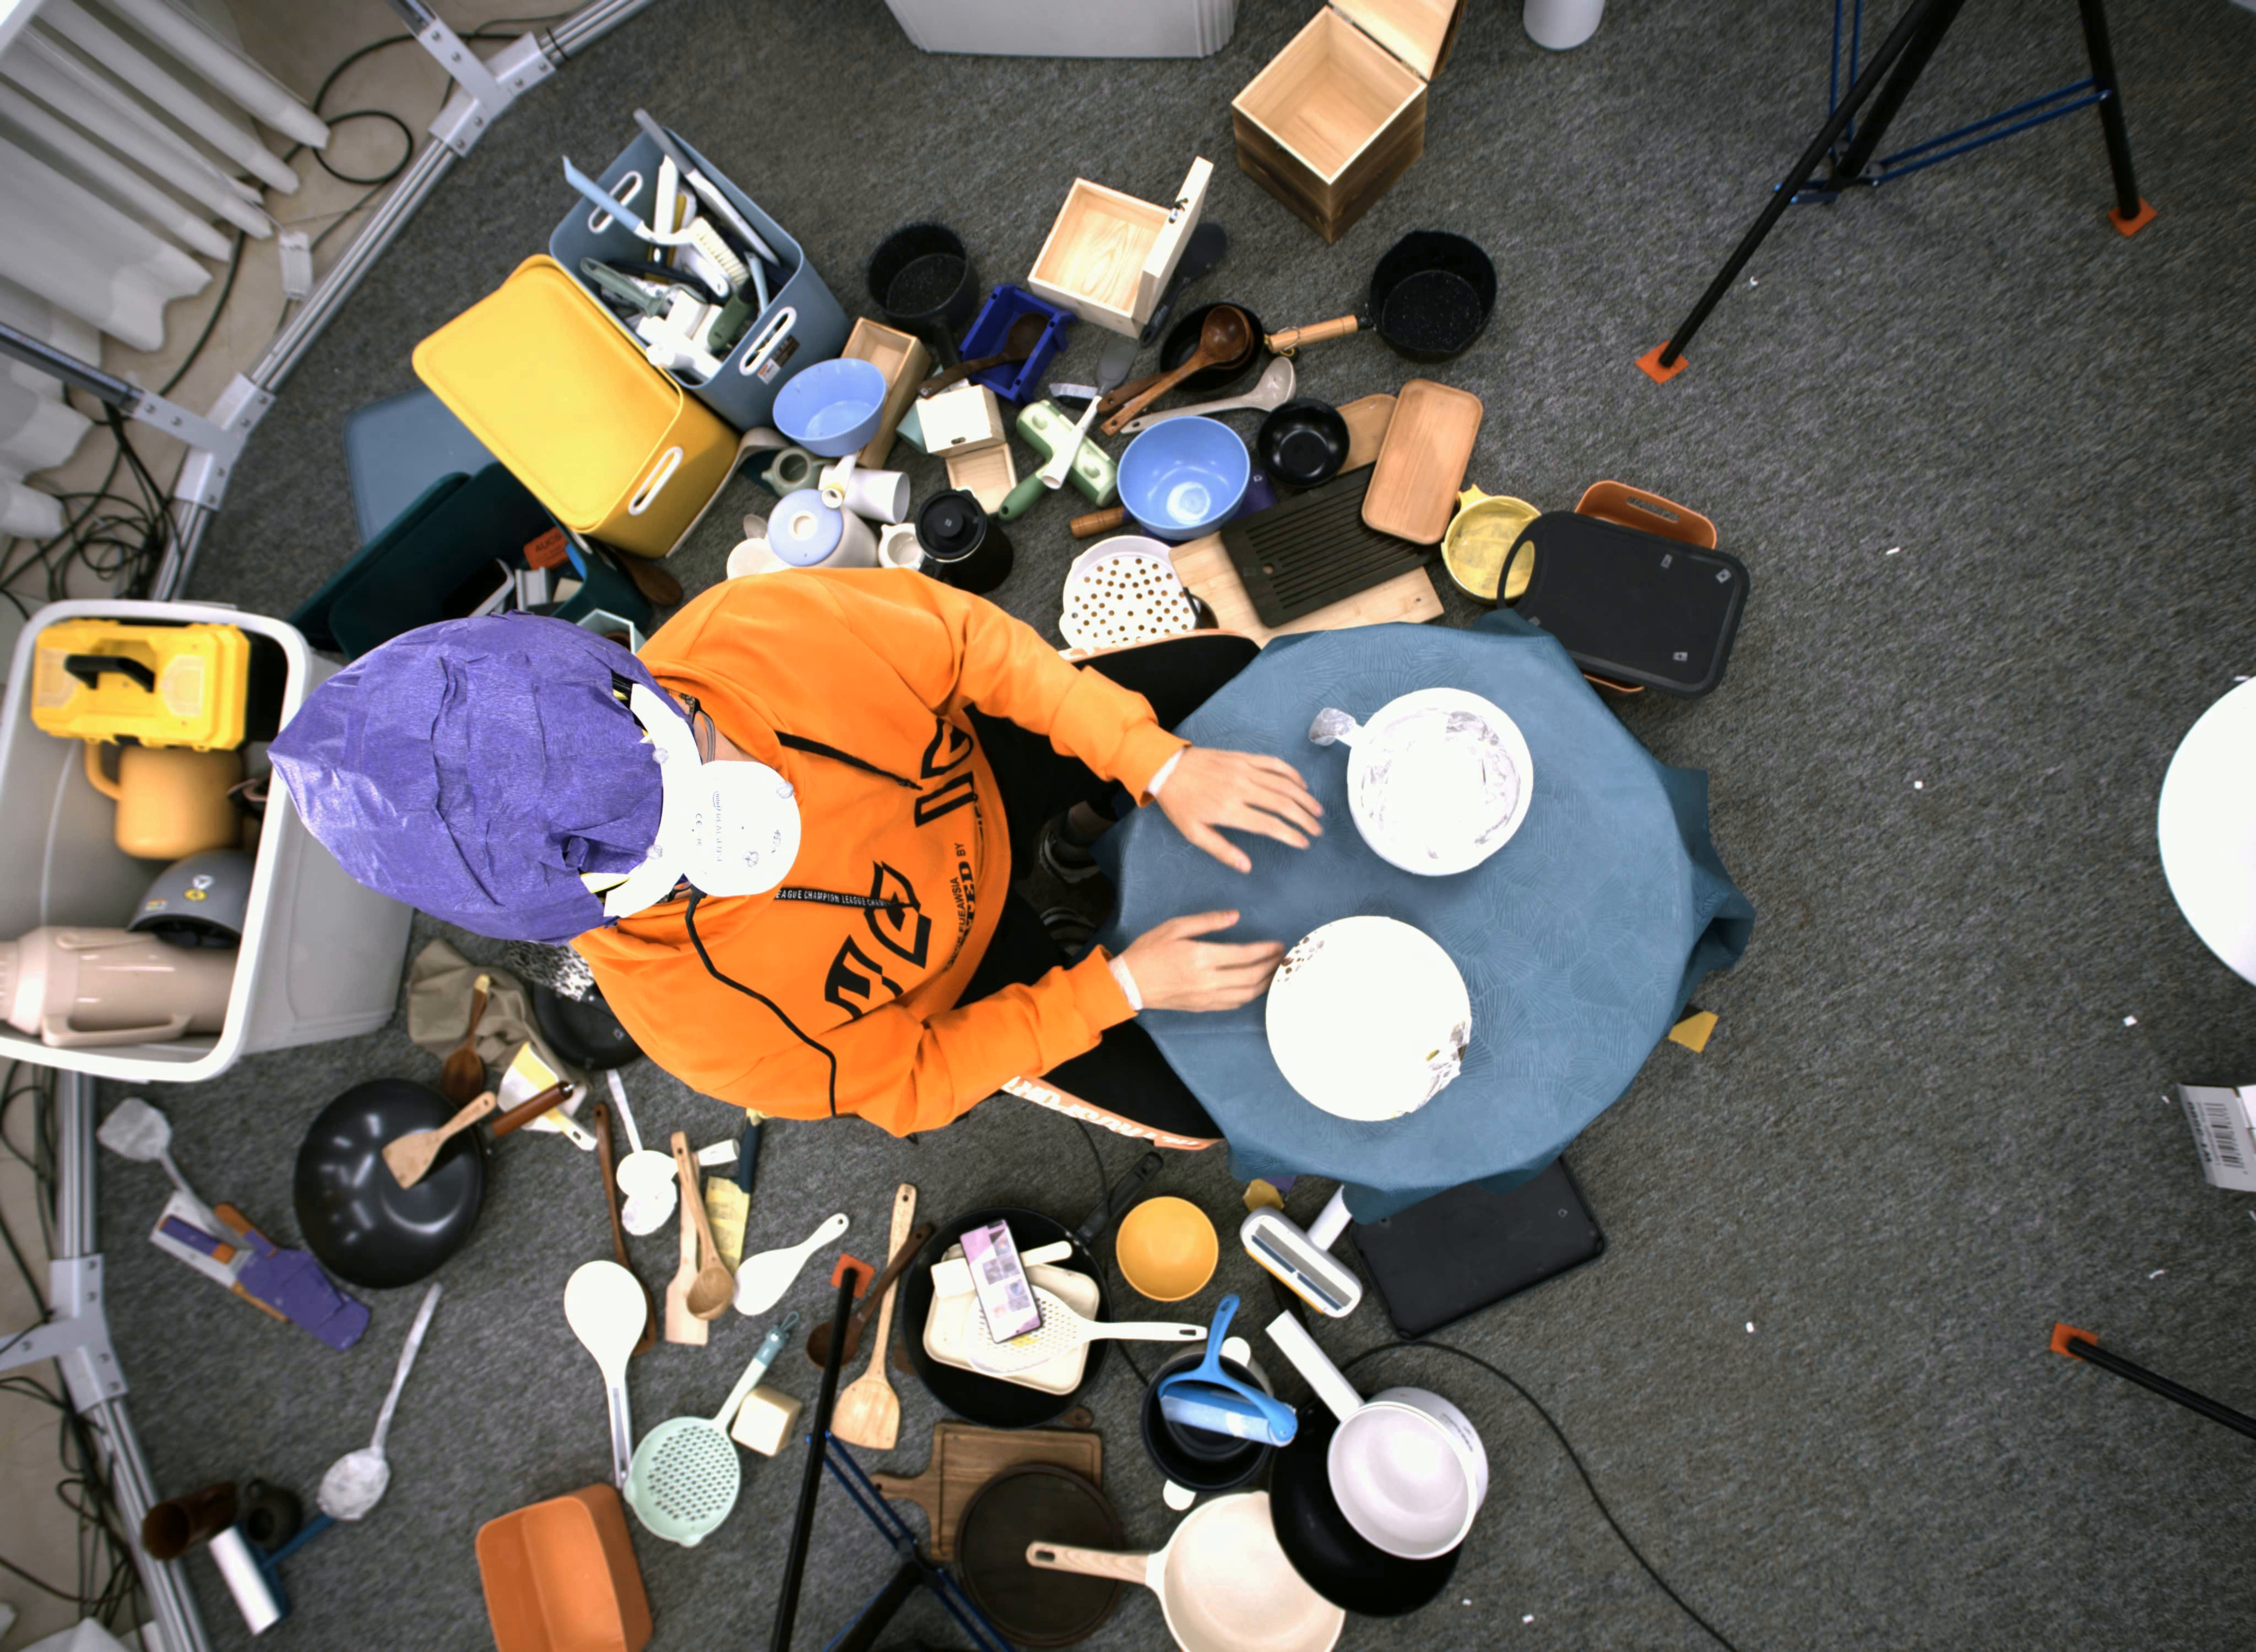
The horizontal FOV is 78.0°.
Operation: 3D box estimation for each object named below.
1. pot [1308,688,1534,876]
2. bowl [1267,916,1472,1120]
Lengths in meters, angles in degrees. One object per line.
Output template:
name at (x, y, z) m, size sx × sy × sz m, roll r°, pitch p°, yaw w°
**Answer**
pot at (0.287, -0.055, 1.394) m, size 0.233 × 0.137 × 0.179 m, roll 29°, pitch 91°, yaw 10°
bowl at (0.248, 0.194, 1.420) m, size 0.205 × 0.078 × 0.203 m, roll -1°, pitch 86°, yaw 13°
